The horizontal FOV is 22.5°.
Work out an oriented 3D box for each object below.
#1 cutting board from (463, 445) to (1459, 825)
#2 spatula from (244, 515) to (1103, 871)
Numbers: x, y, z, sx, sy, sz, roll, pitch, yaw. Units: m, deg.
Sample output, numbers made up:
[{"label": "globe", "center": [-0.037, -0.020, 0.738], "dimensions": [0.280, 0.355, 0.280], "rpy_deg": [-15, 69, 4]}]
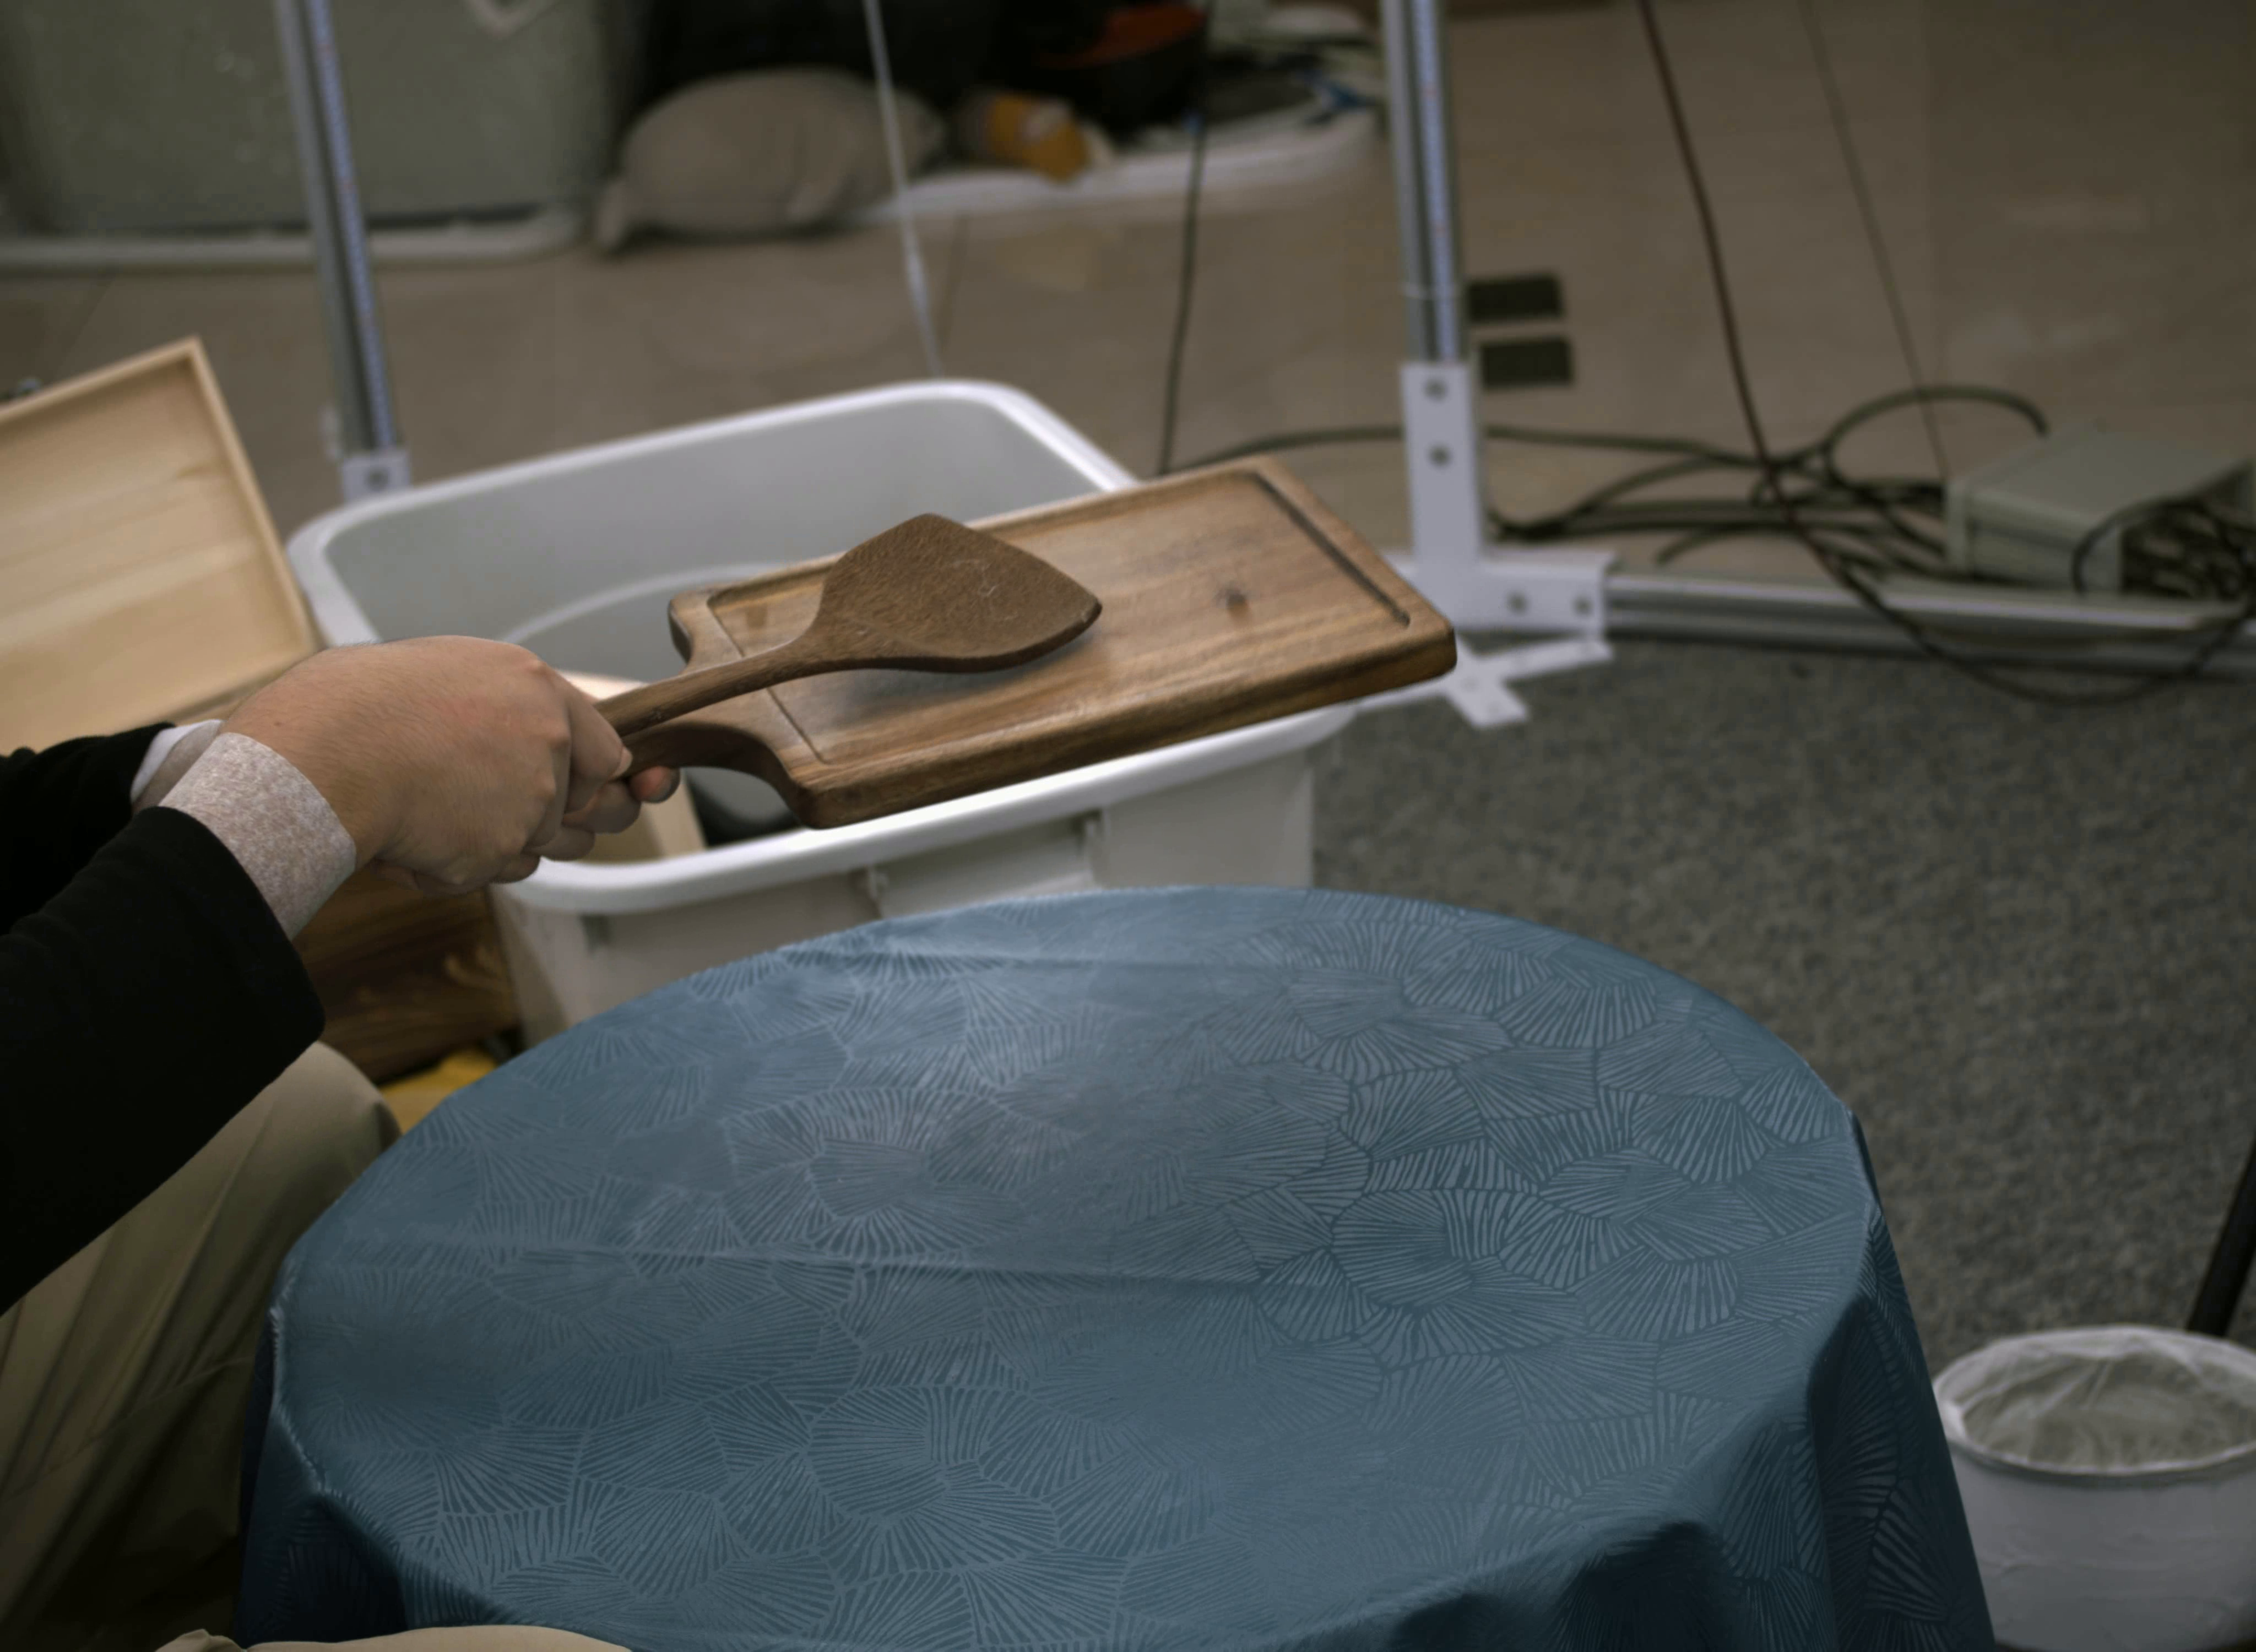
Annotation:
[{"label": "cutting board", "center": [-0.074, -0.062, 2.079], "dimensions": [0.351, 0.023, 0.198], "rpy_deg": [-15, 28, -14]}, {"label": "spatula", "center": [-0.158, -0.045, 1.970], "dimensions": [0.095, 0.016, 0.383], "rpy_deg": [30, 34, 31]}]
